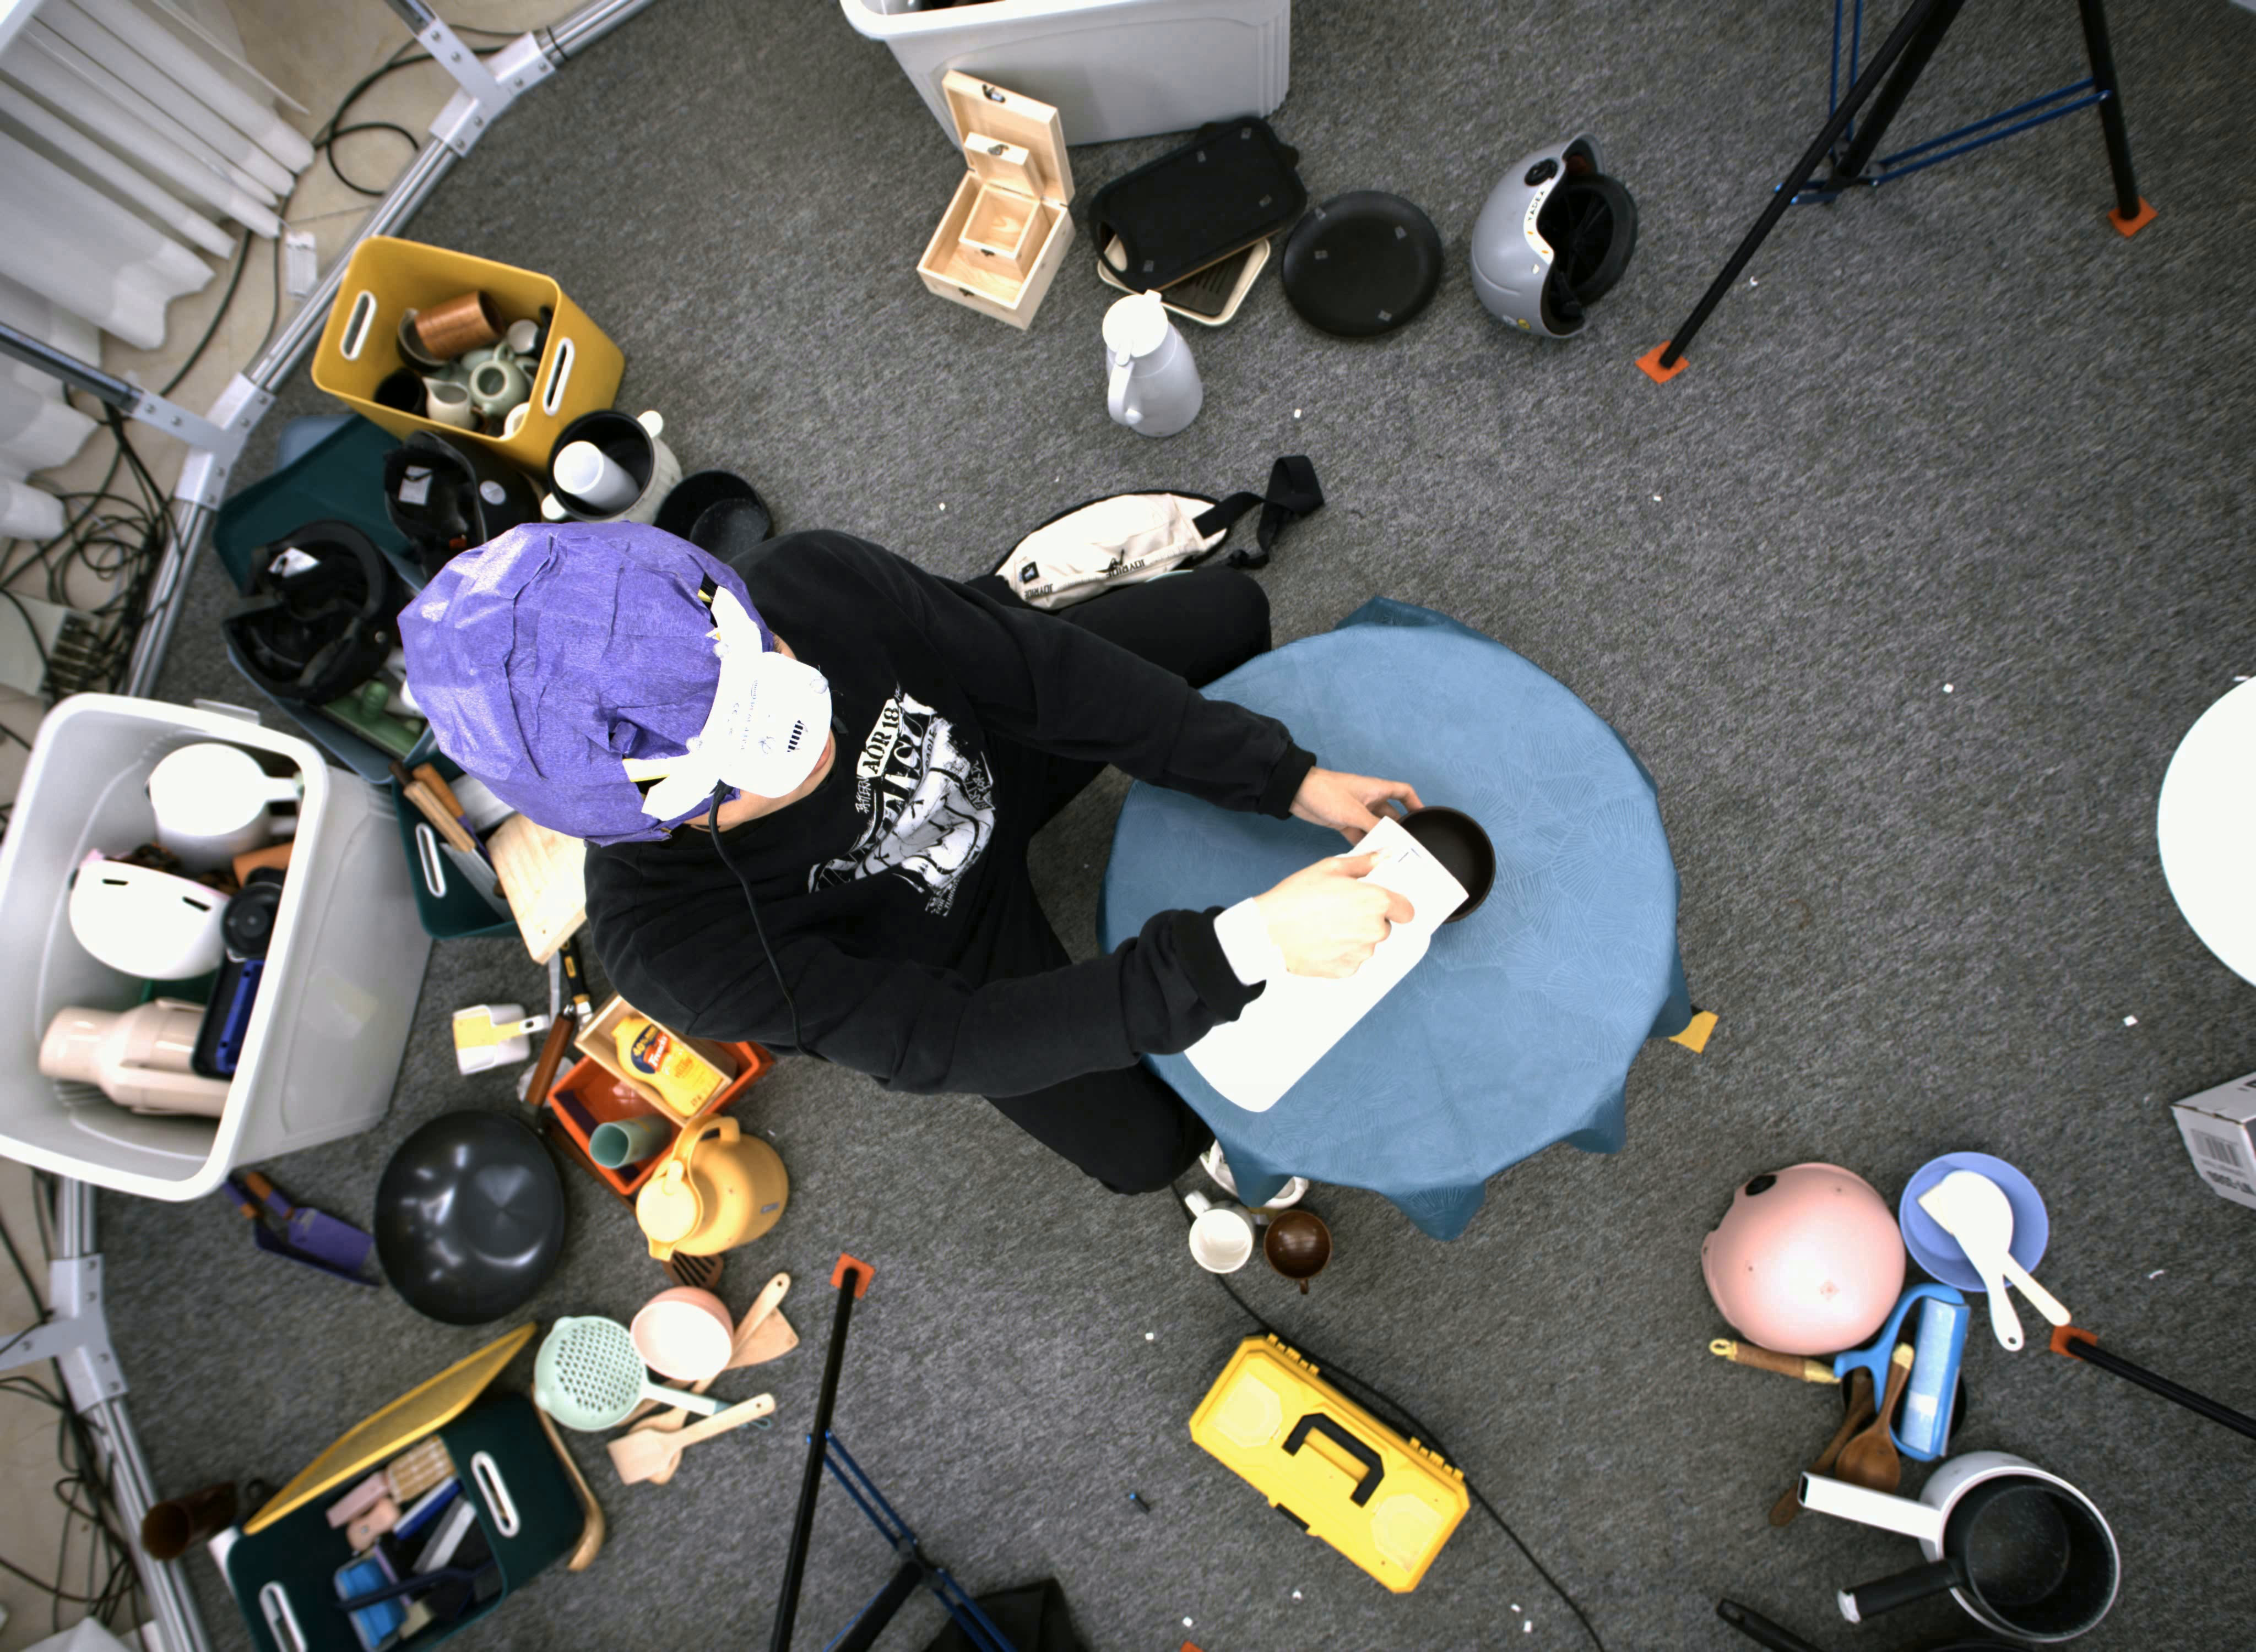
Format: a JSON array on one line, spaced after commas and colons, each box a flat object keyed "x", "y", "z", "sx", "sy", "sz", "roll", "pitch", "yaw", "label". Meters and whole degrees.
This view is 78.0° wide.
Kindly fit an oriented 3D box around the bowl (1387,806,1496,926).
[{"x": 0.305, "y": 0.040, "z": 1.379, "sx": 0.118, "sy": 0.070, "sz": 0.117, "roll": -1, "pitch": 87, "yaw": 7, "label": "bowl"}]

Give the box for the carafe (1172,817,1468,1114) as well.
[{"x": 0.162, "y": 0.122, "z": 1.190, "sx": 0.272, "sy": 0.172, "sz": 0.123, "roll": -45, "pitch": 78, "yaw": 14, "label": "carafe"}]
